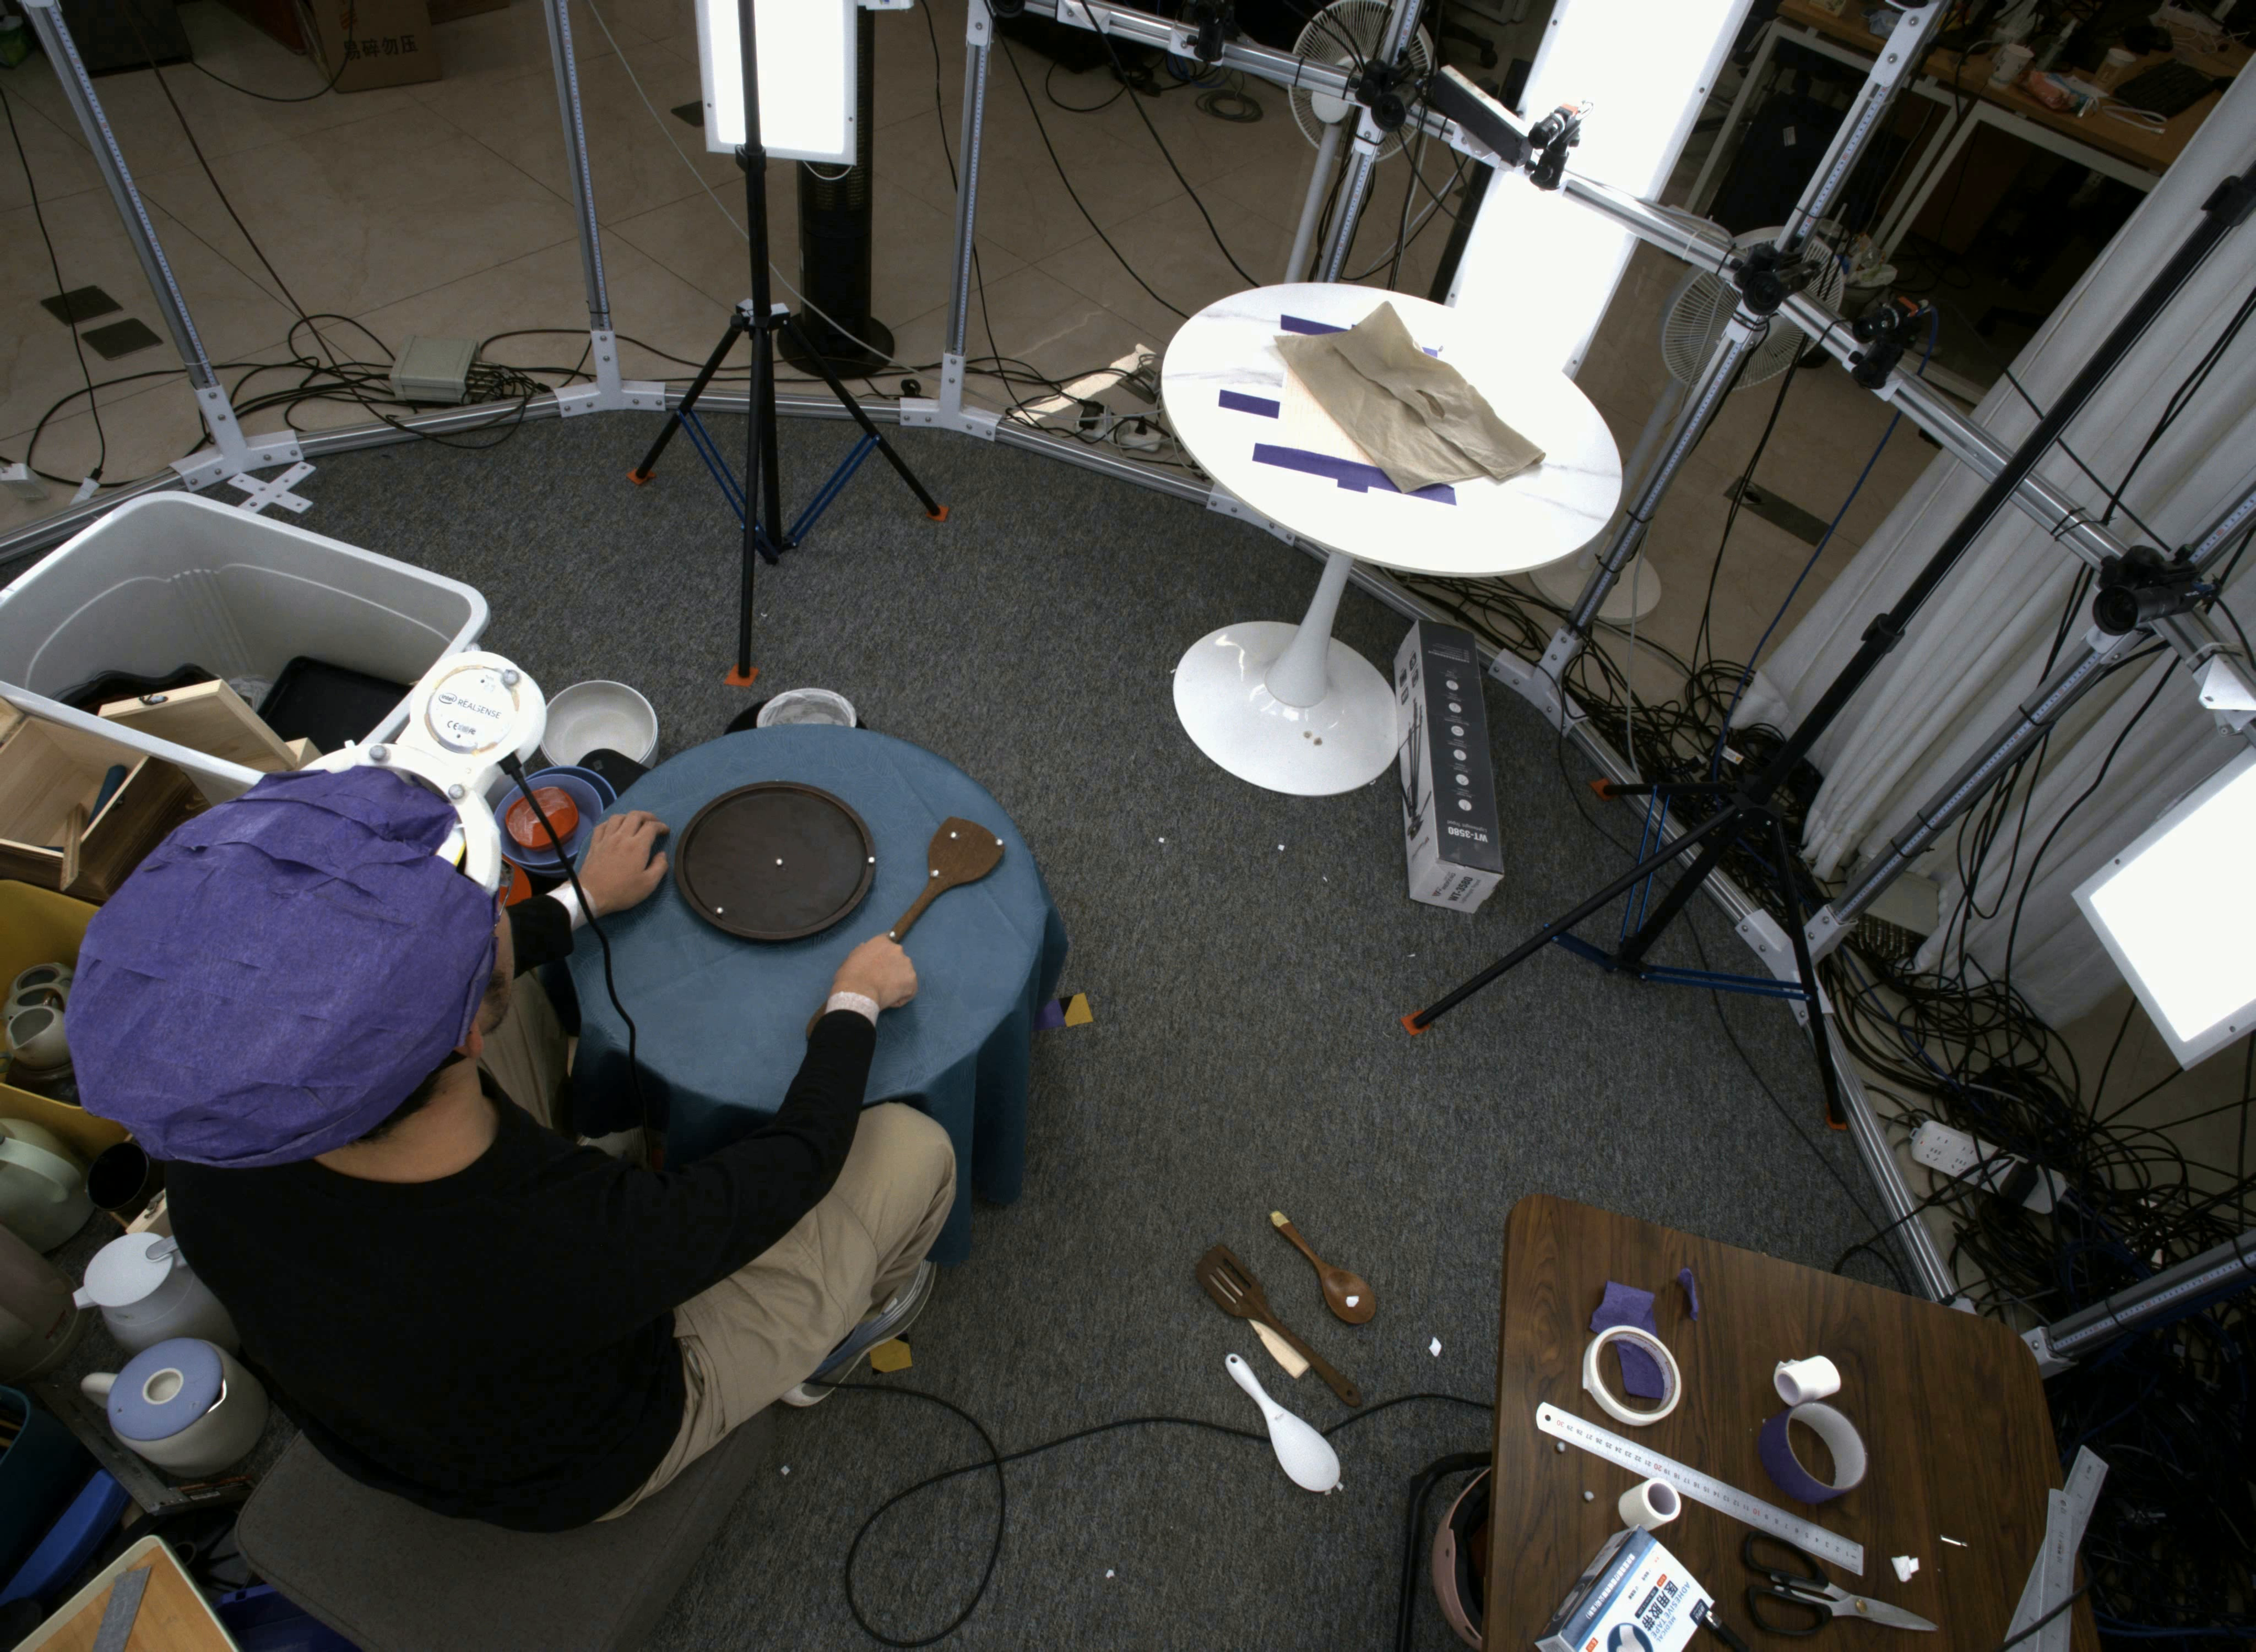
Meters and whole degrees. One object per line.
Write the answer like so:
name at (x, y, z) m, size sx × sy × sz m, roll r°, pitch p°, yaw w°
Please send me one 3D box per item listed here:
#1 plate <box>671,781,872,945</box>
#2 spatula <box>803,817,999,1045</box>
plate at (-0.456, 0.044, 1.662) m, size 0.254 × 0.029 × 0.250 m, roll 9°, pitch 52°, yaw -10°
spatula at (-0.292, 0.127, 1.649) m, size 0.094 × 0.016 × 0.384 m, roll 29°, pitch 52°, yaw 8°
